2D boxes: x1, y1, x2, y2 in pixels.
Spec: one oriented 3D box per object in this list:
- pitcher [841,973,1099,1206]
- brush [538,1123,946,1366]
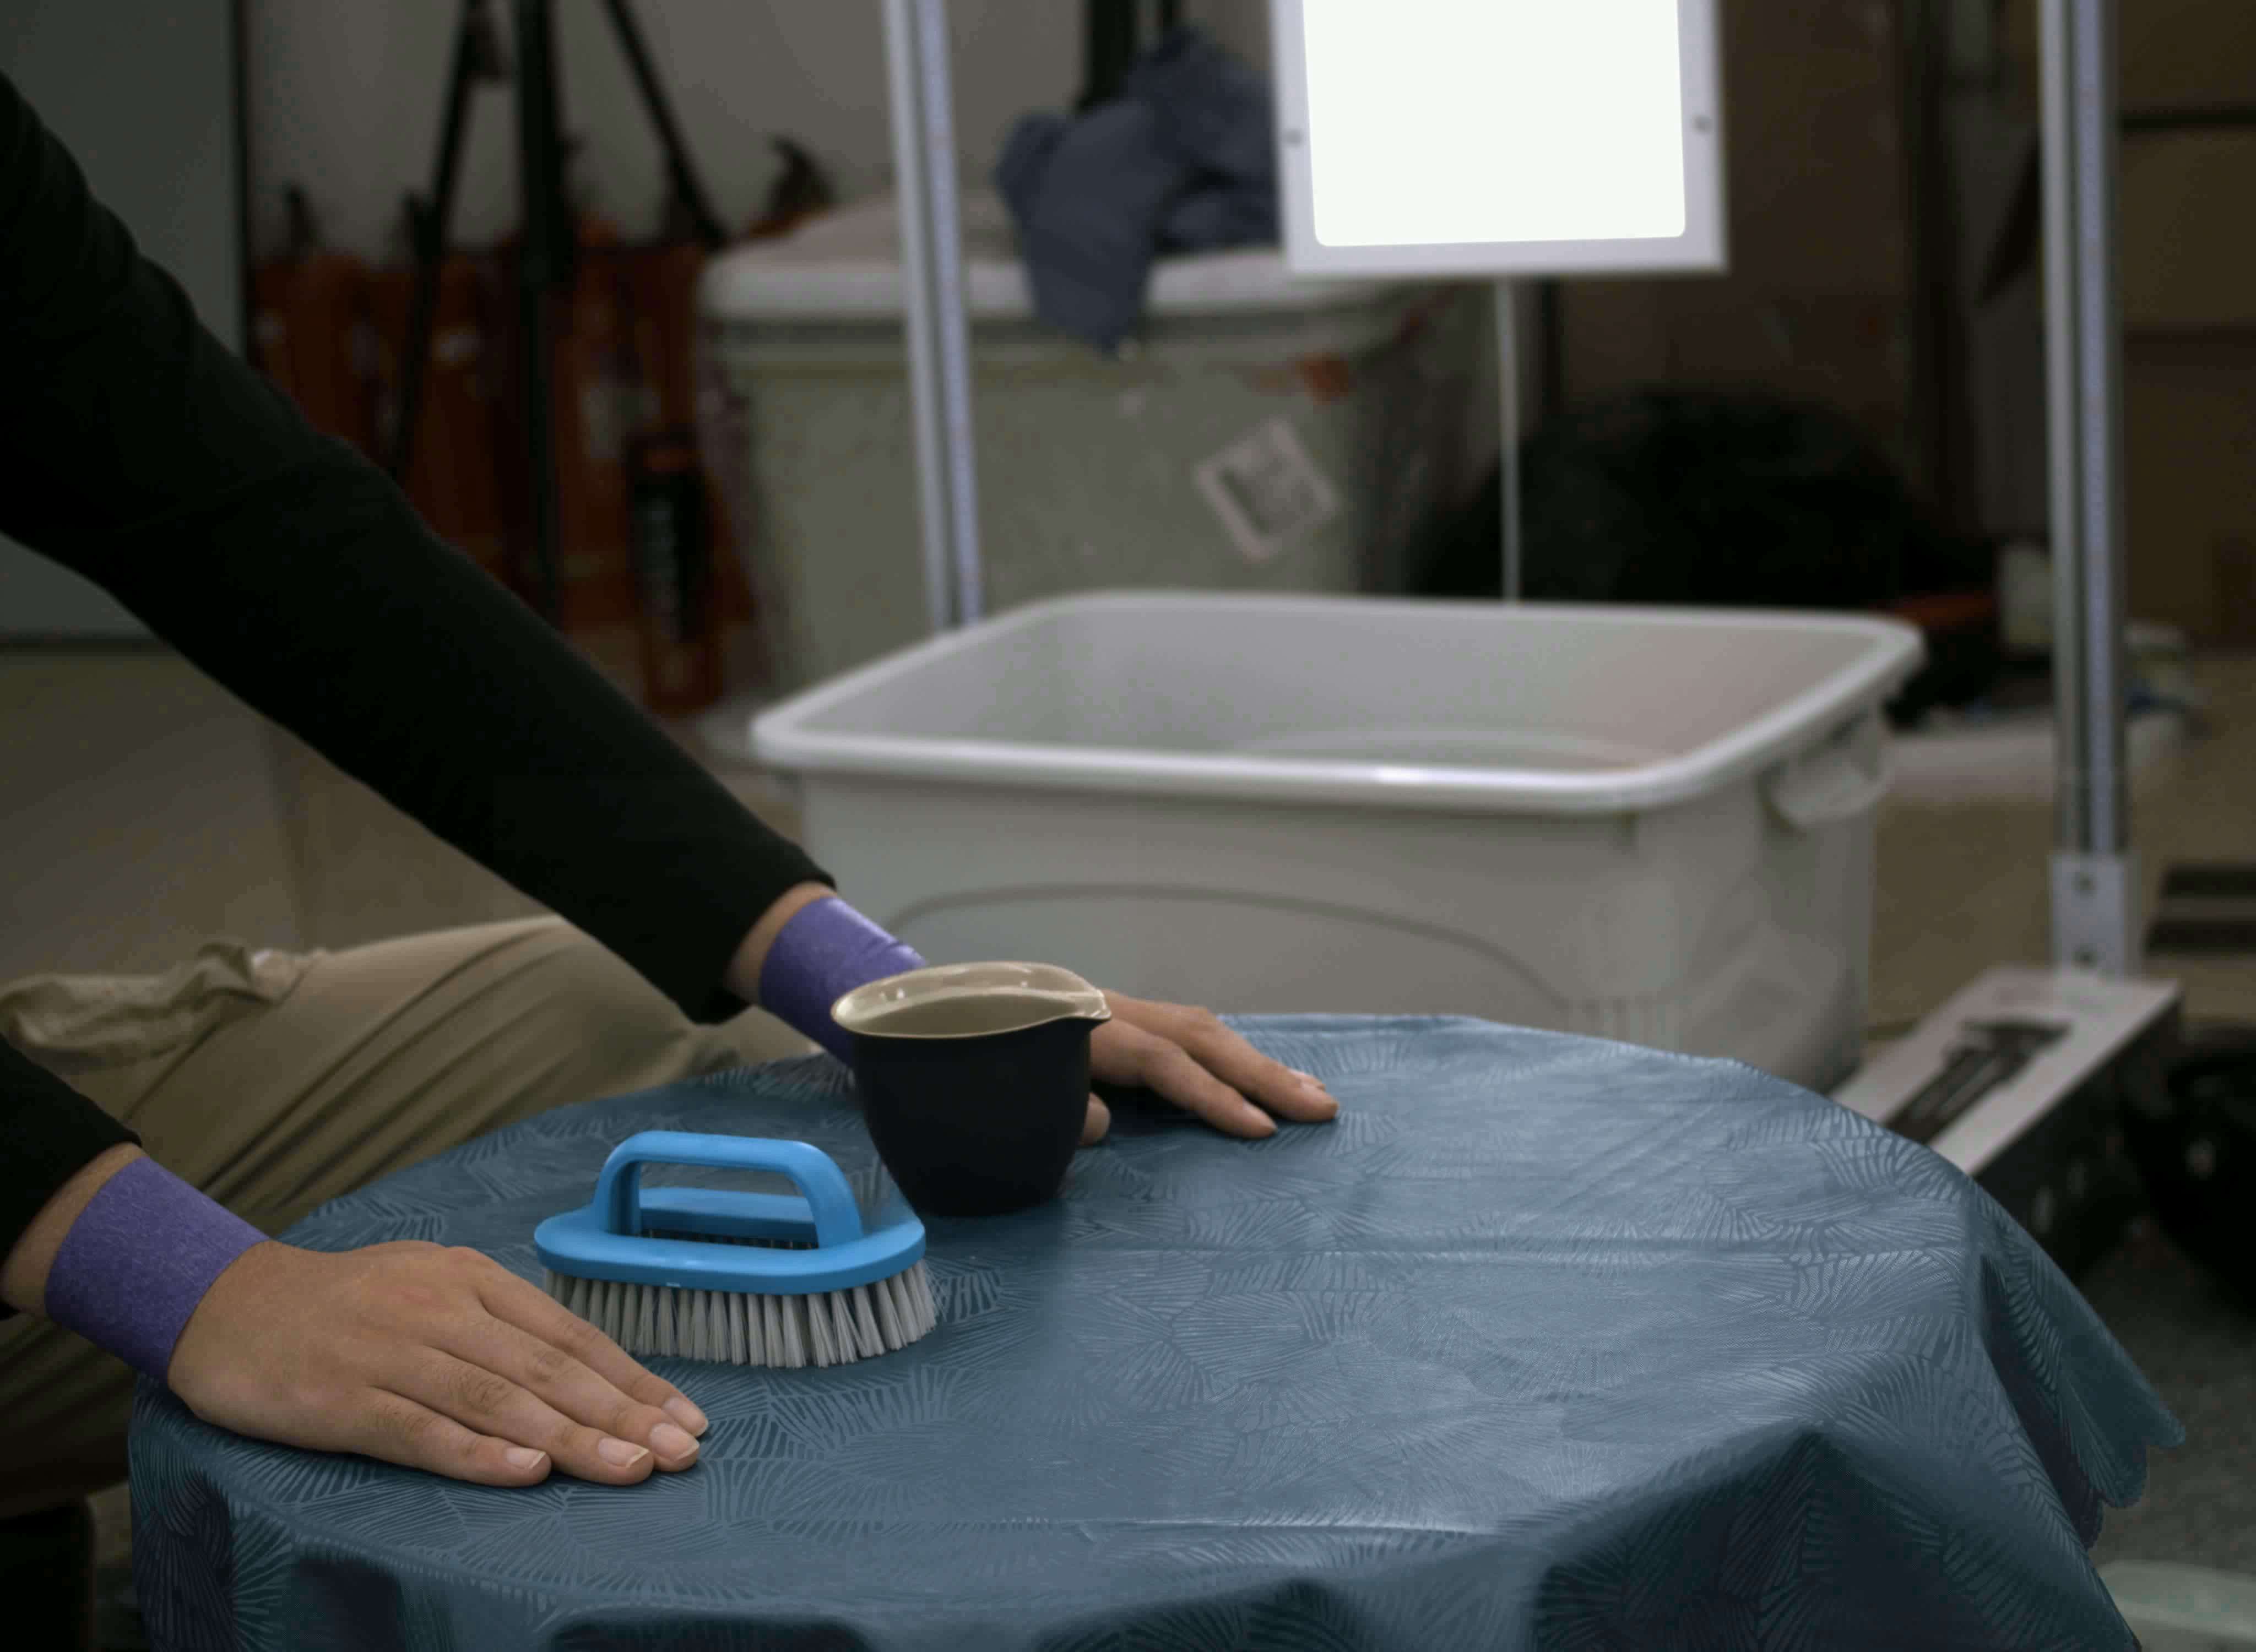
[{"bbox_3d":[-0.051,0.091,1.903,0.098,0.071,0.081,6,16,33],"label":"pitcher"},{"bbox_3d":[-0.130,0.129,1.794,0.144,0.064,0.082,2,20,30],"label":"brush"}]
